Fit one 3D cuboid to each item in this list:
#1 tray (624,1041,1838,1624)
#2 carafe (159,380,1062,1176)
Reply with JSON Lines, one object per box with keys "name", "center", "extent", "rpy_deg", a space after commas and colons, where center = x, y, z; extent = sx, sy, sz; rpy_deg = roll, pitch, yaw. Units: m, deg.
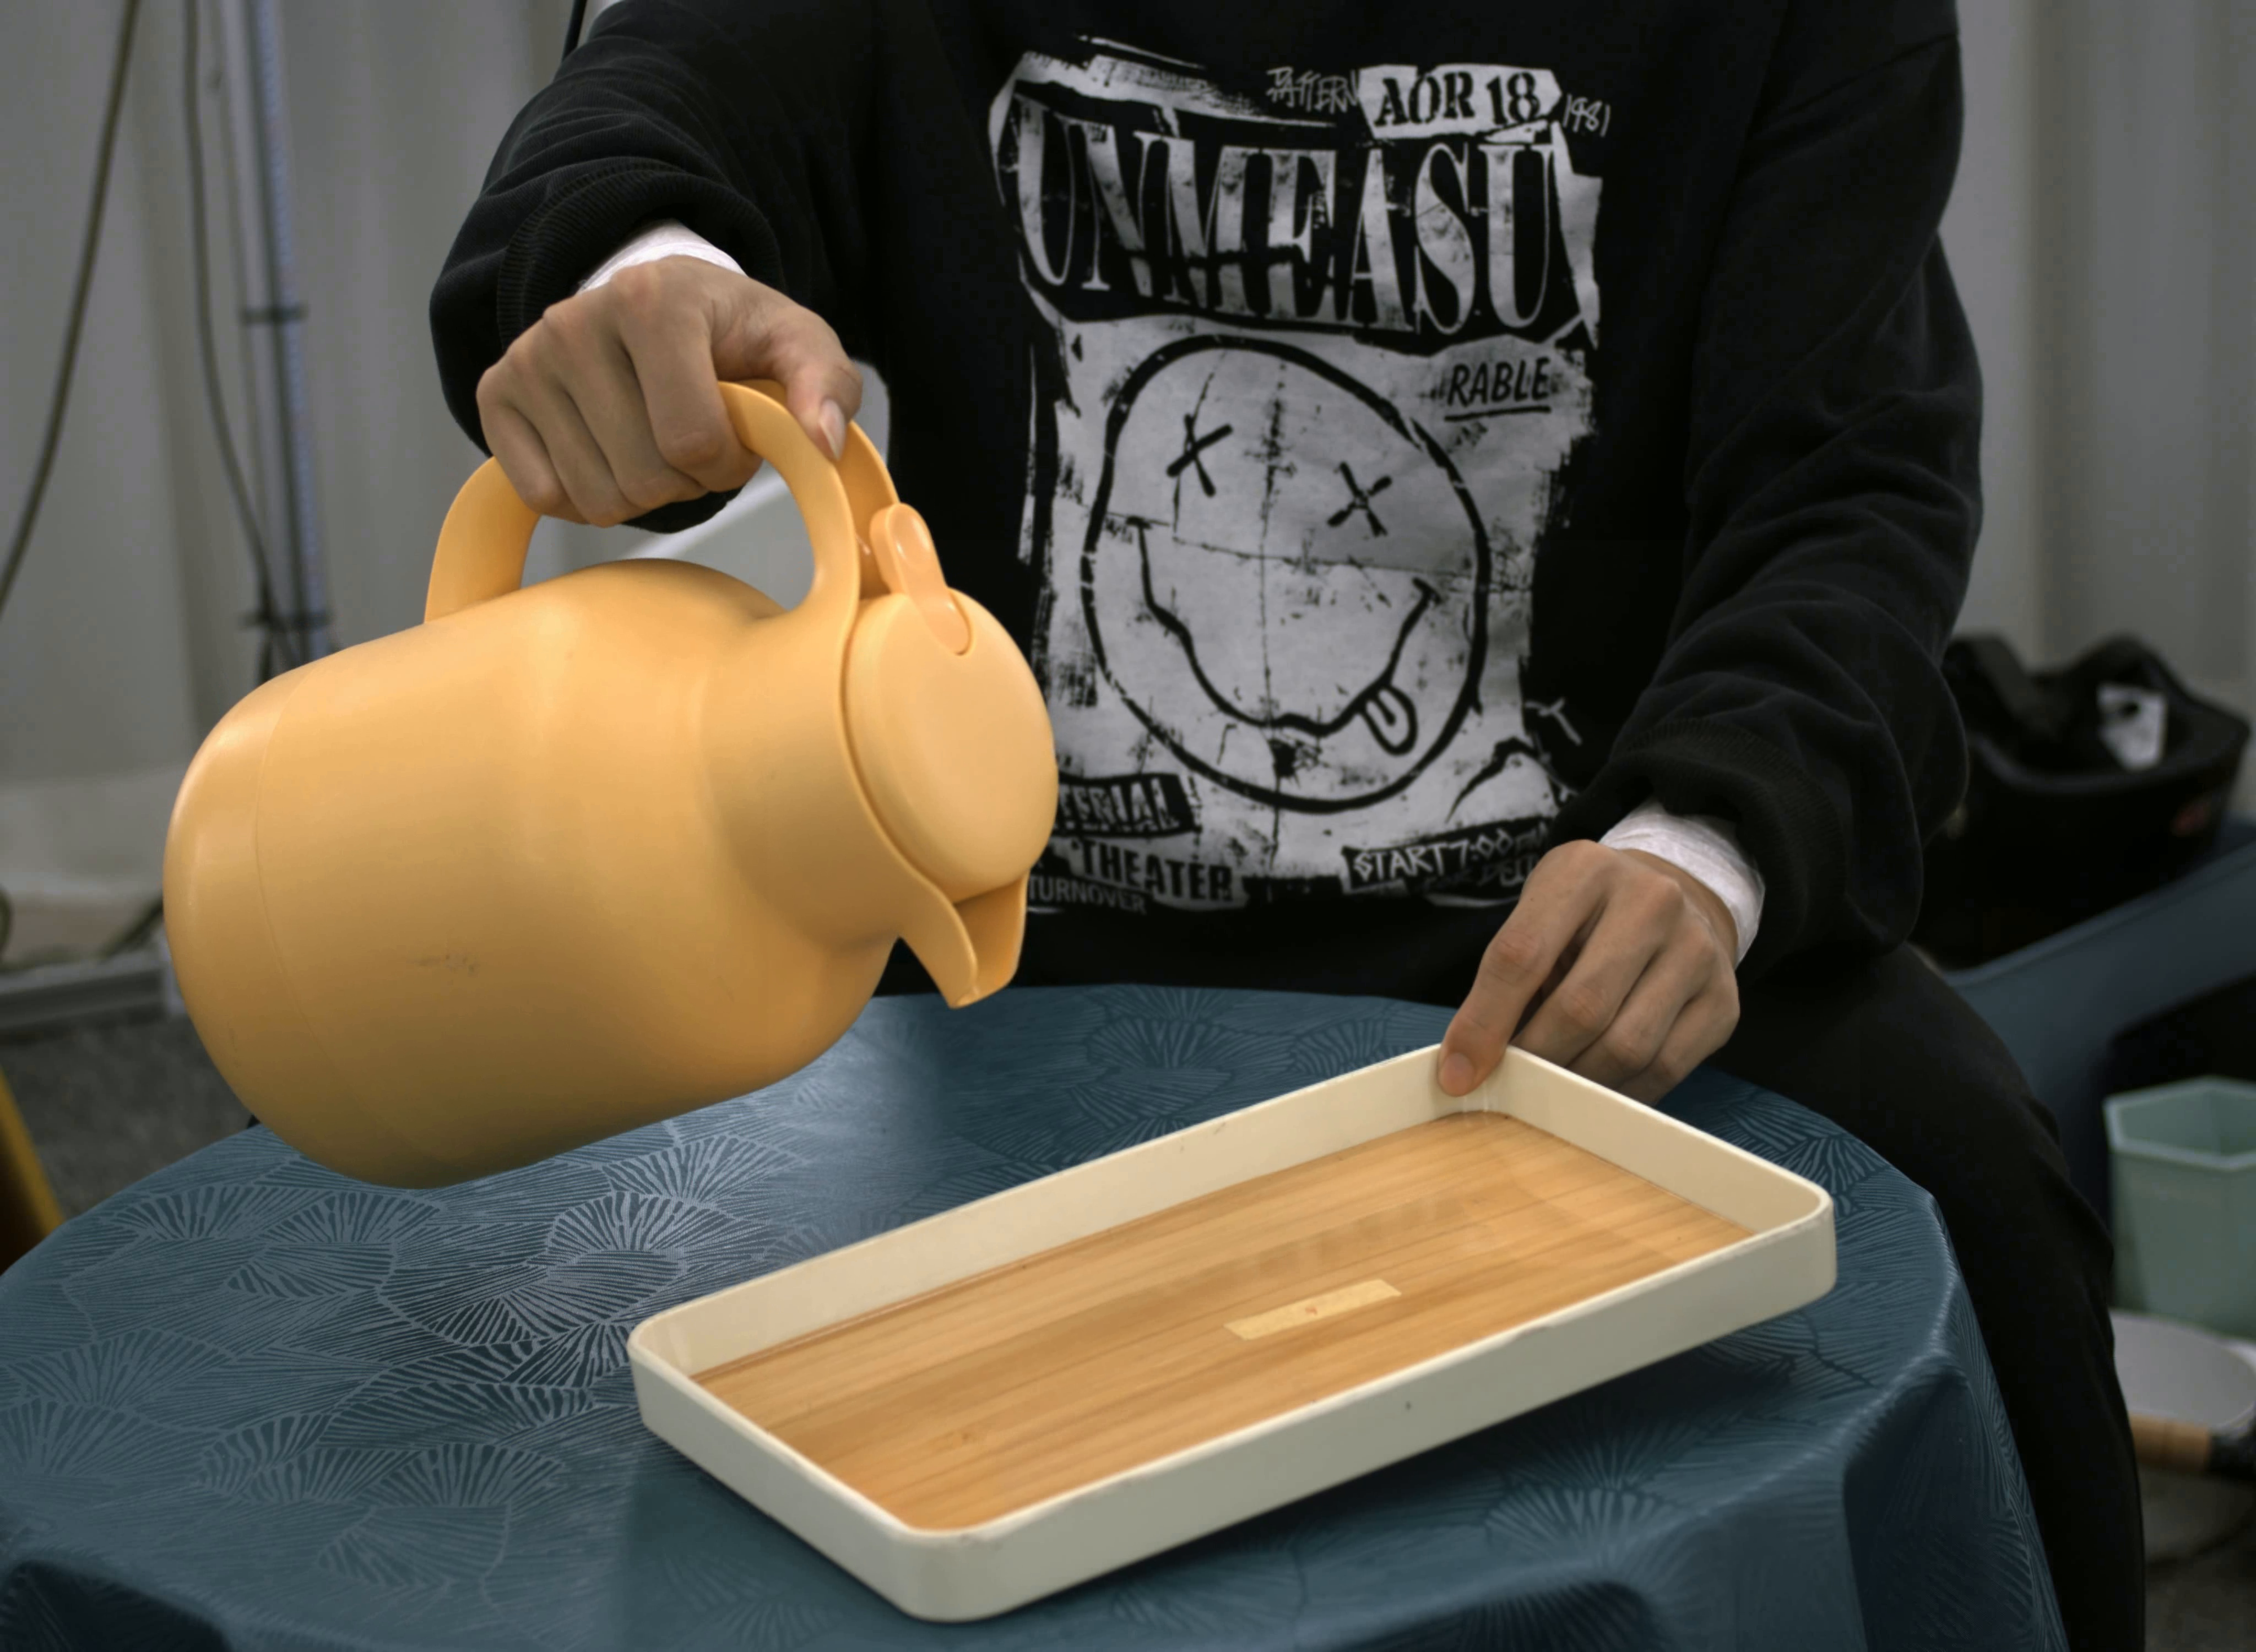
{"name": "tray", "center": [0.029, 0.135, 1.522], "extent": [0.299, 0.027, 0.193], "rpy_deg": [-17, 21, -27]}
{"name": "carafe", "center": [-0.148, -0.016, 1.593], "extent": [0.260, 0.203, 0.163], "rpy_deg": [-15, -6, 30]}
